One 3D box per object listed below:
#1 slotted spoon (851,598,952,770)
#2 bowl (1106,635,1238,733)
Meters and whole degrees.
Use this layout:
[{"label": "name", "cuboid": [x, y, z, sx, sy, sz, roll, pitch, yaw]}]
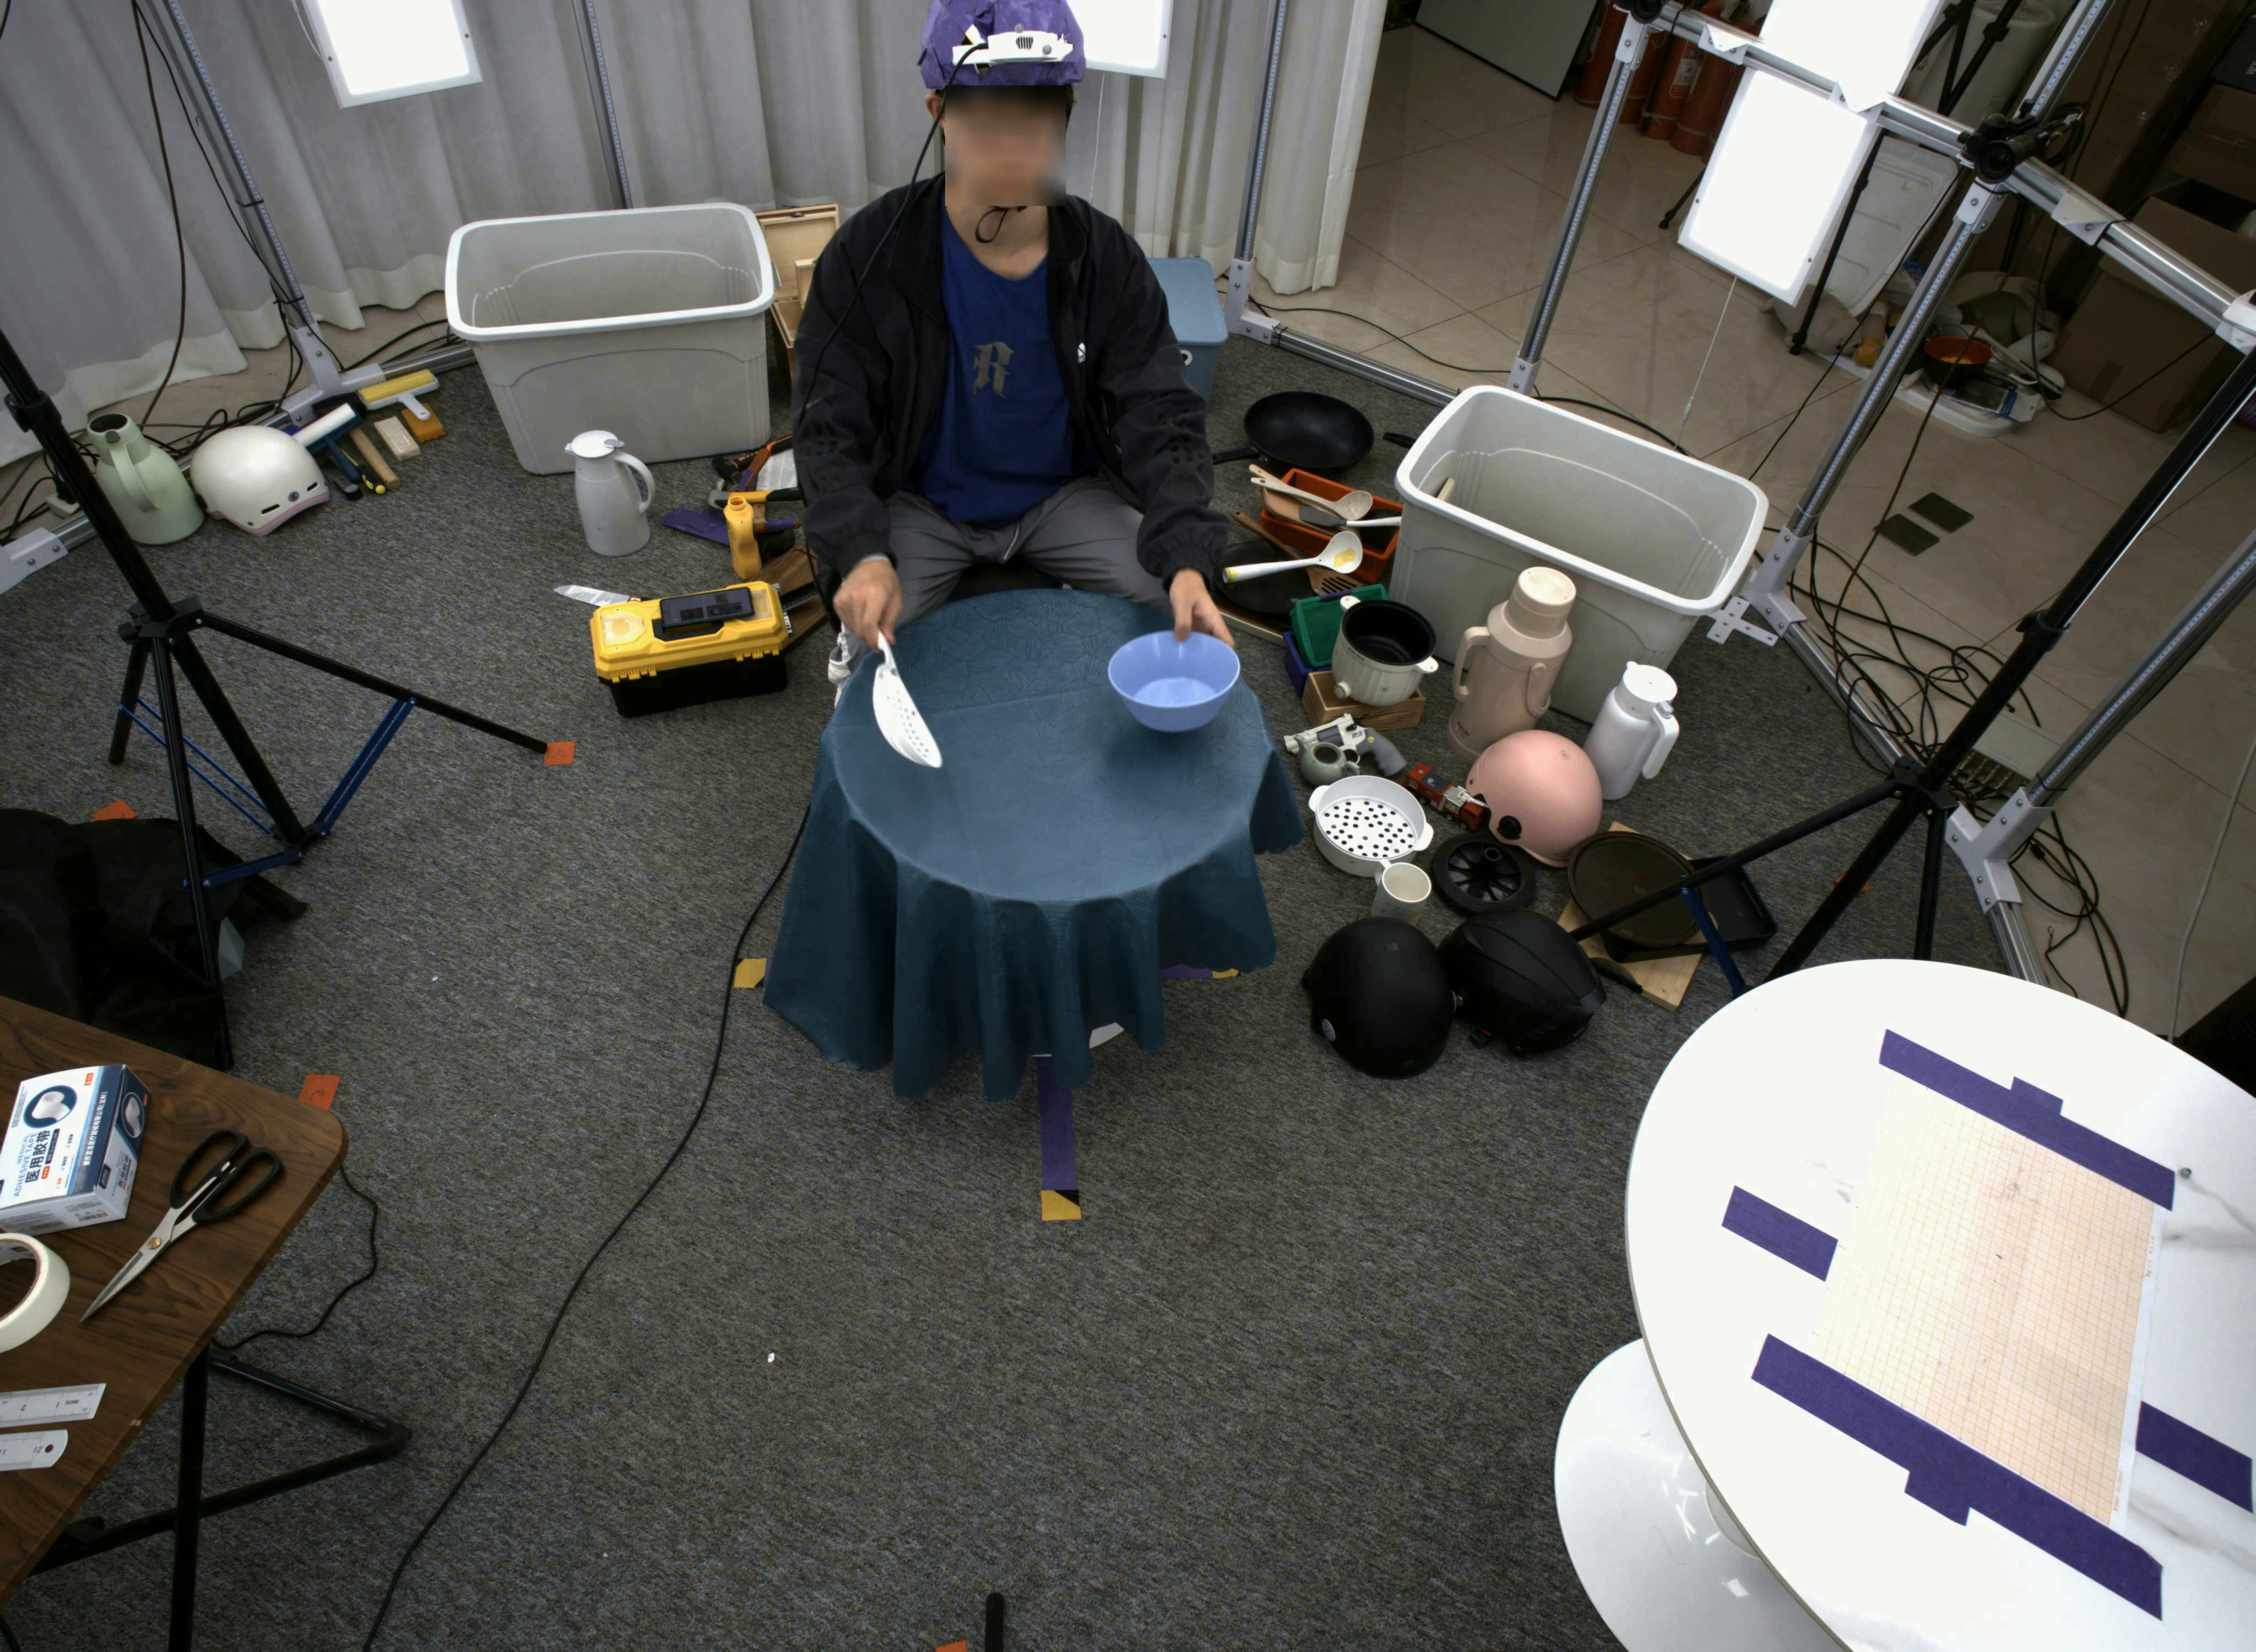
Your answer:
[{"label": "slotted spoon", "cuboid": [-0.314, -0.198, 1.696, 0.050, 0.134, 0.356, -34, 48, 15]}, {"label": "bowl", "cuboid": [0.061, -0.184, 1.728, 0.176, 0.068, 0.180, -3, 40, 2]}]
